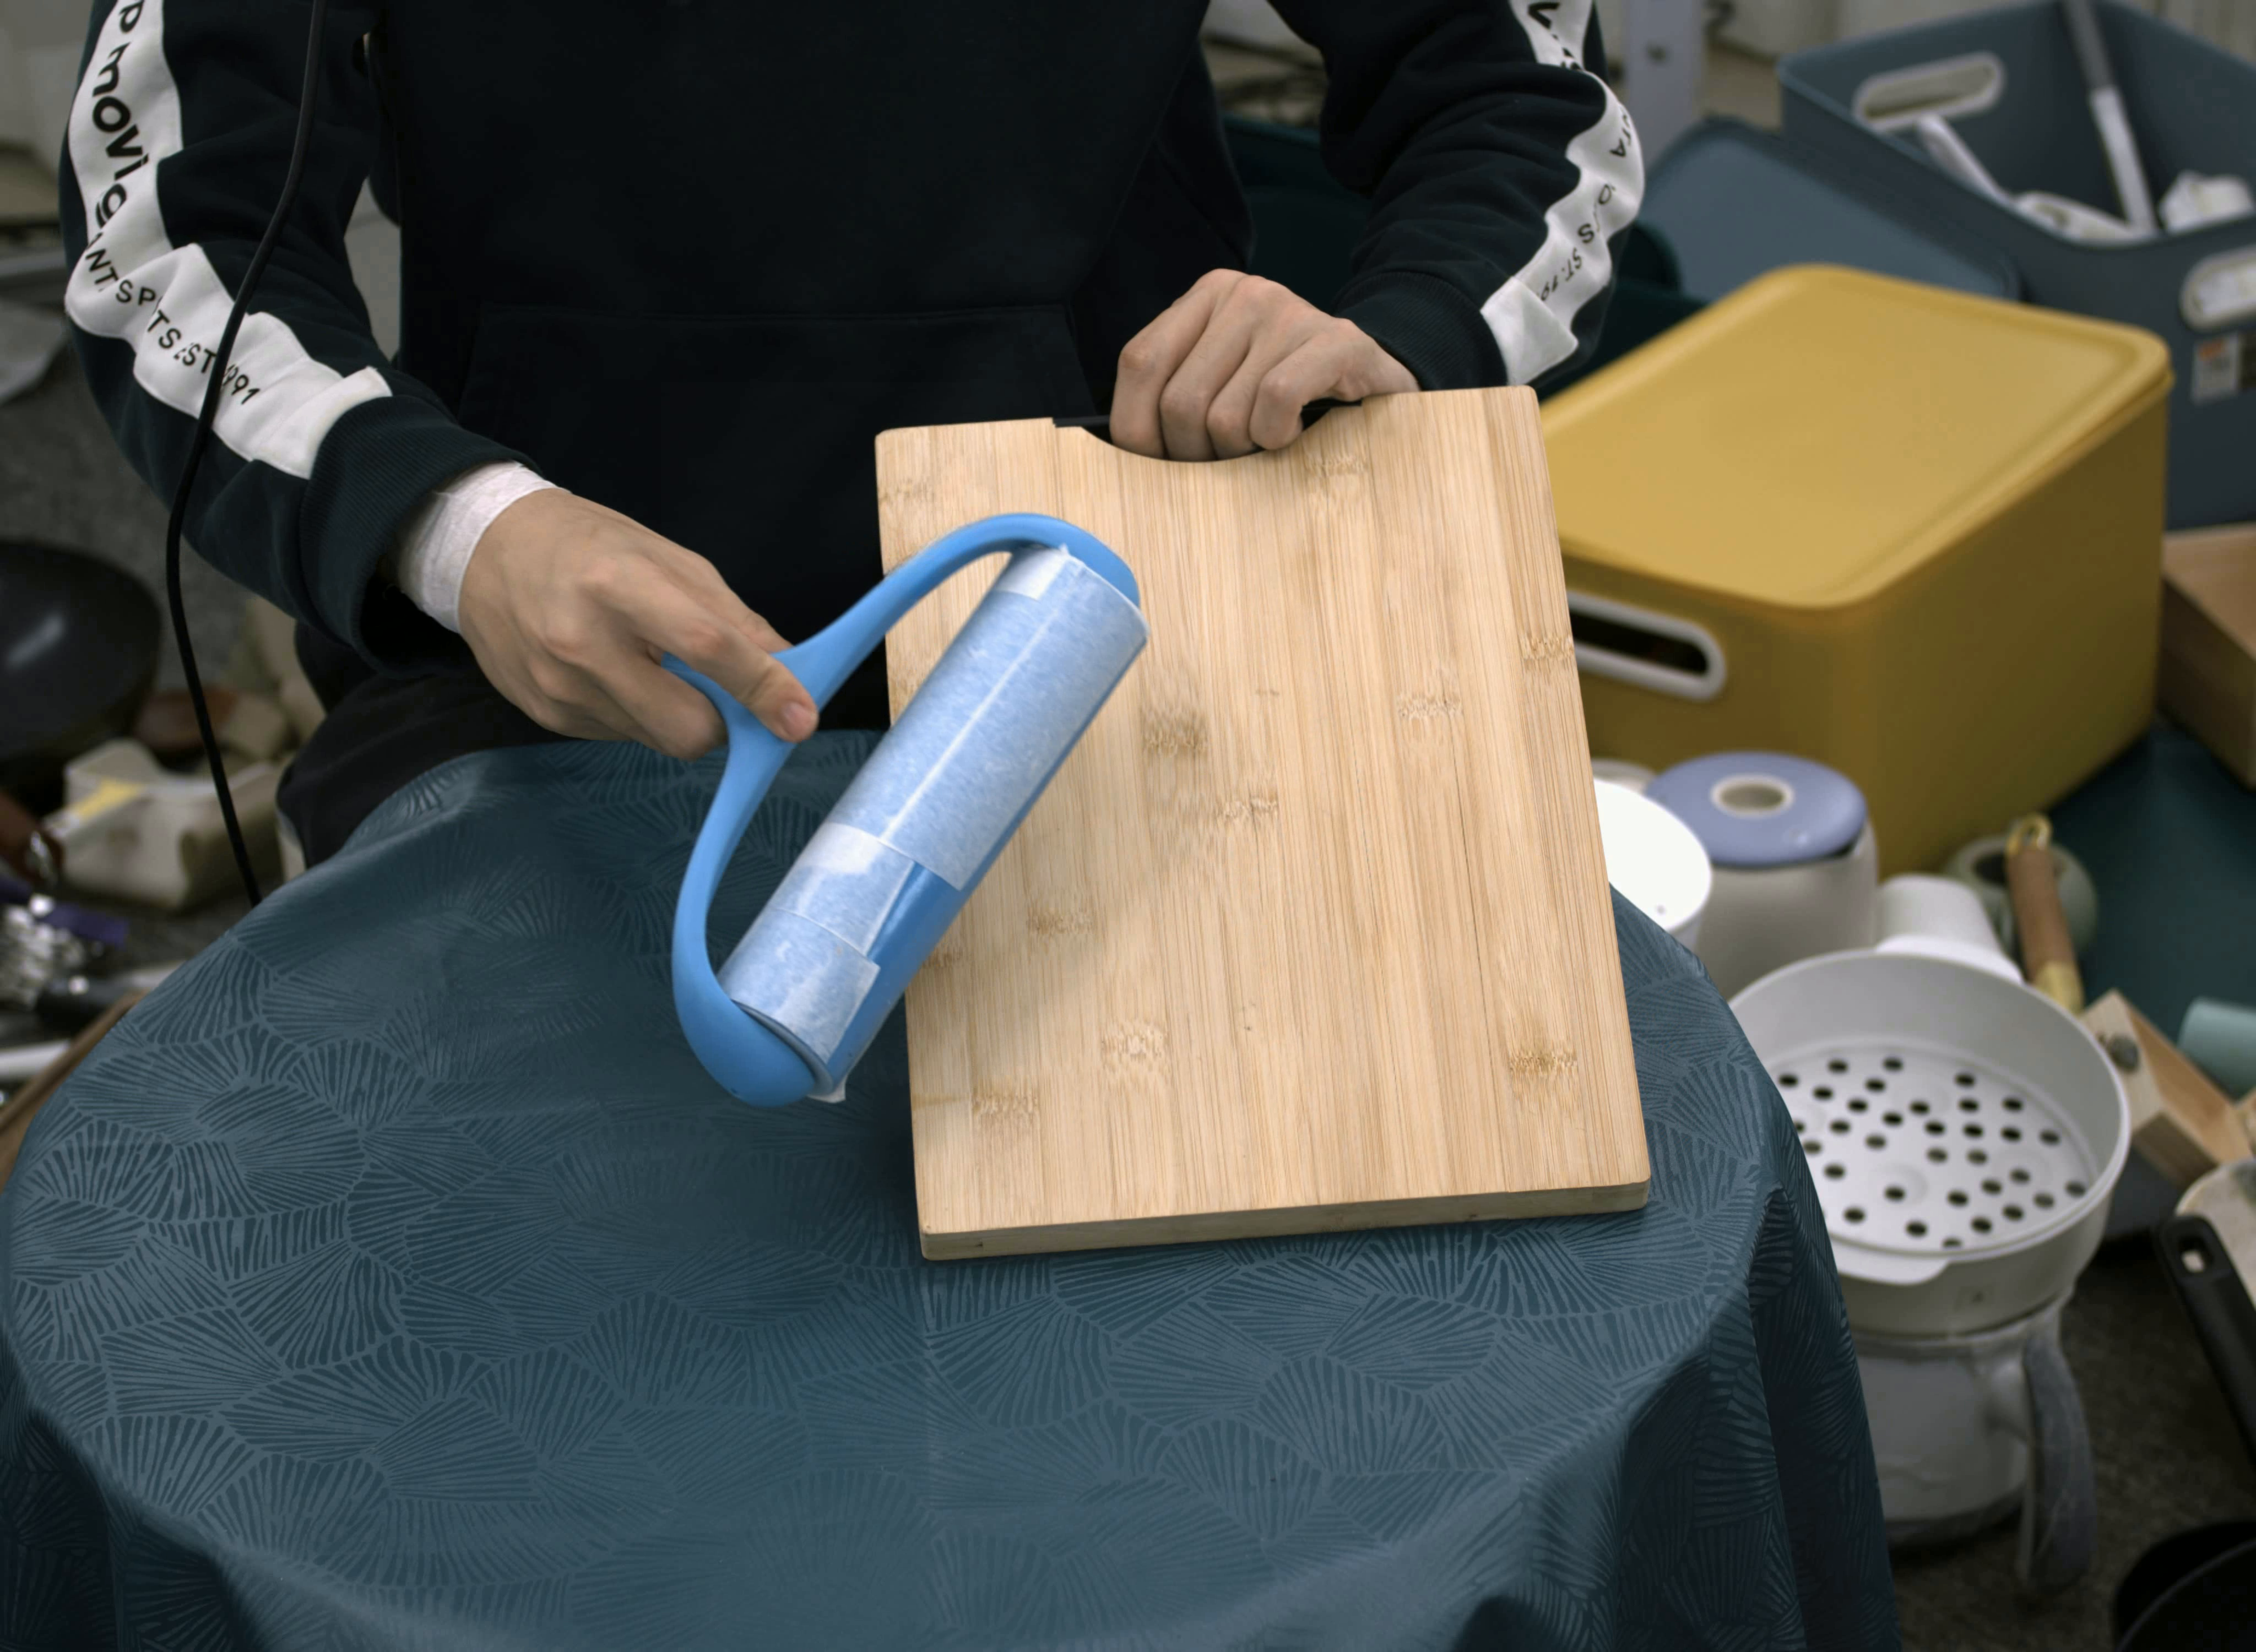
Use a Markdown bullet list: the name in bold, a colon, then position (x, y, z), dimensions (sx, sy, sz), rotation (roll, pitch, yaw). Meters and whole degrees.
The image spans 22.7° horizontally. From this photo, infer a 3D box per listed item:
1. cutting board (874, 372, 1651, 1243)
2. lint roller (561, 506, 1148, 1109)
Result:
- **cutting board**: position (0.039, -0.011, 1.932), dimensions (0.250, 0.023, 0.355), rotation (-4, 53, -3)
- **lint roller**: position (-0.116, -0.028, 1.862), dimensions (0.180, 0.067, 0.232), rotation (24, 67, 16)
